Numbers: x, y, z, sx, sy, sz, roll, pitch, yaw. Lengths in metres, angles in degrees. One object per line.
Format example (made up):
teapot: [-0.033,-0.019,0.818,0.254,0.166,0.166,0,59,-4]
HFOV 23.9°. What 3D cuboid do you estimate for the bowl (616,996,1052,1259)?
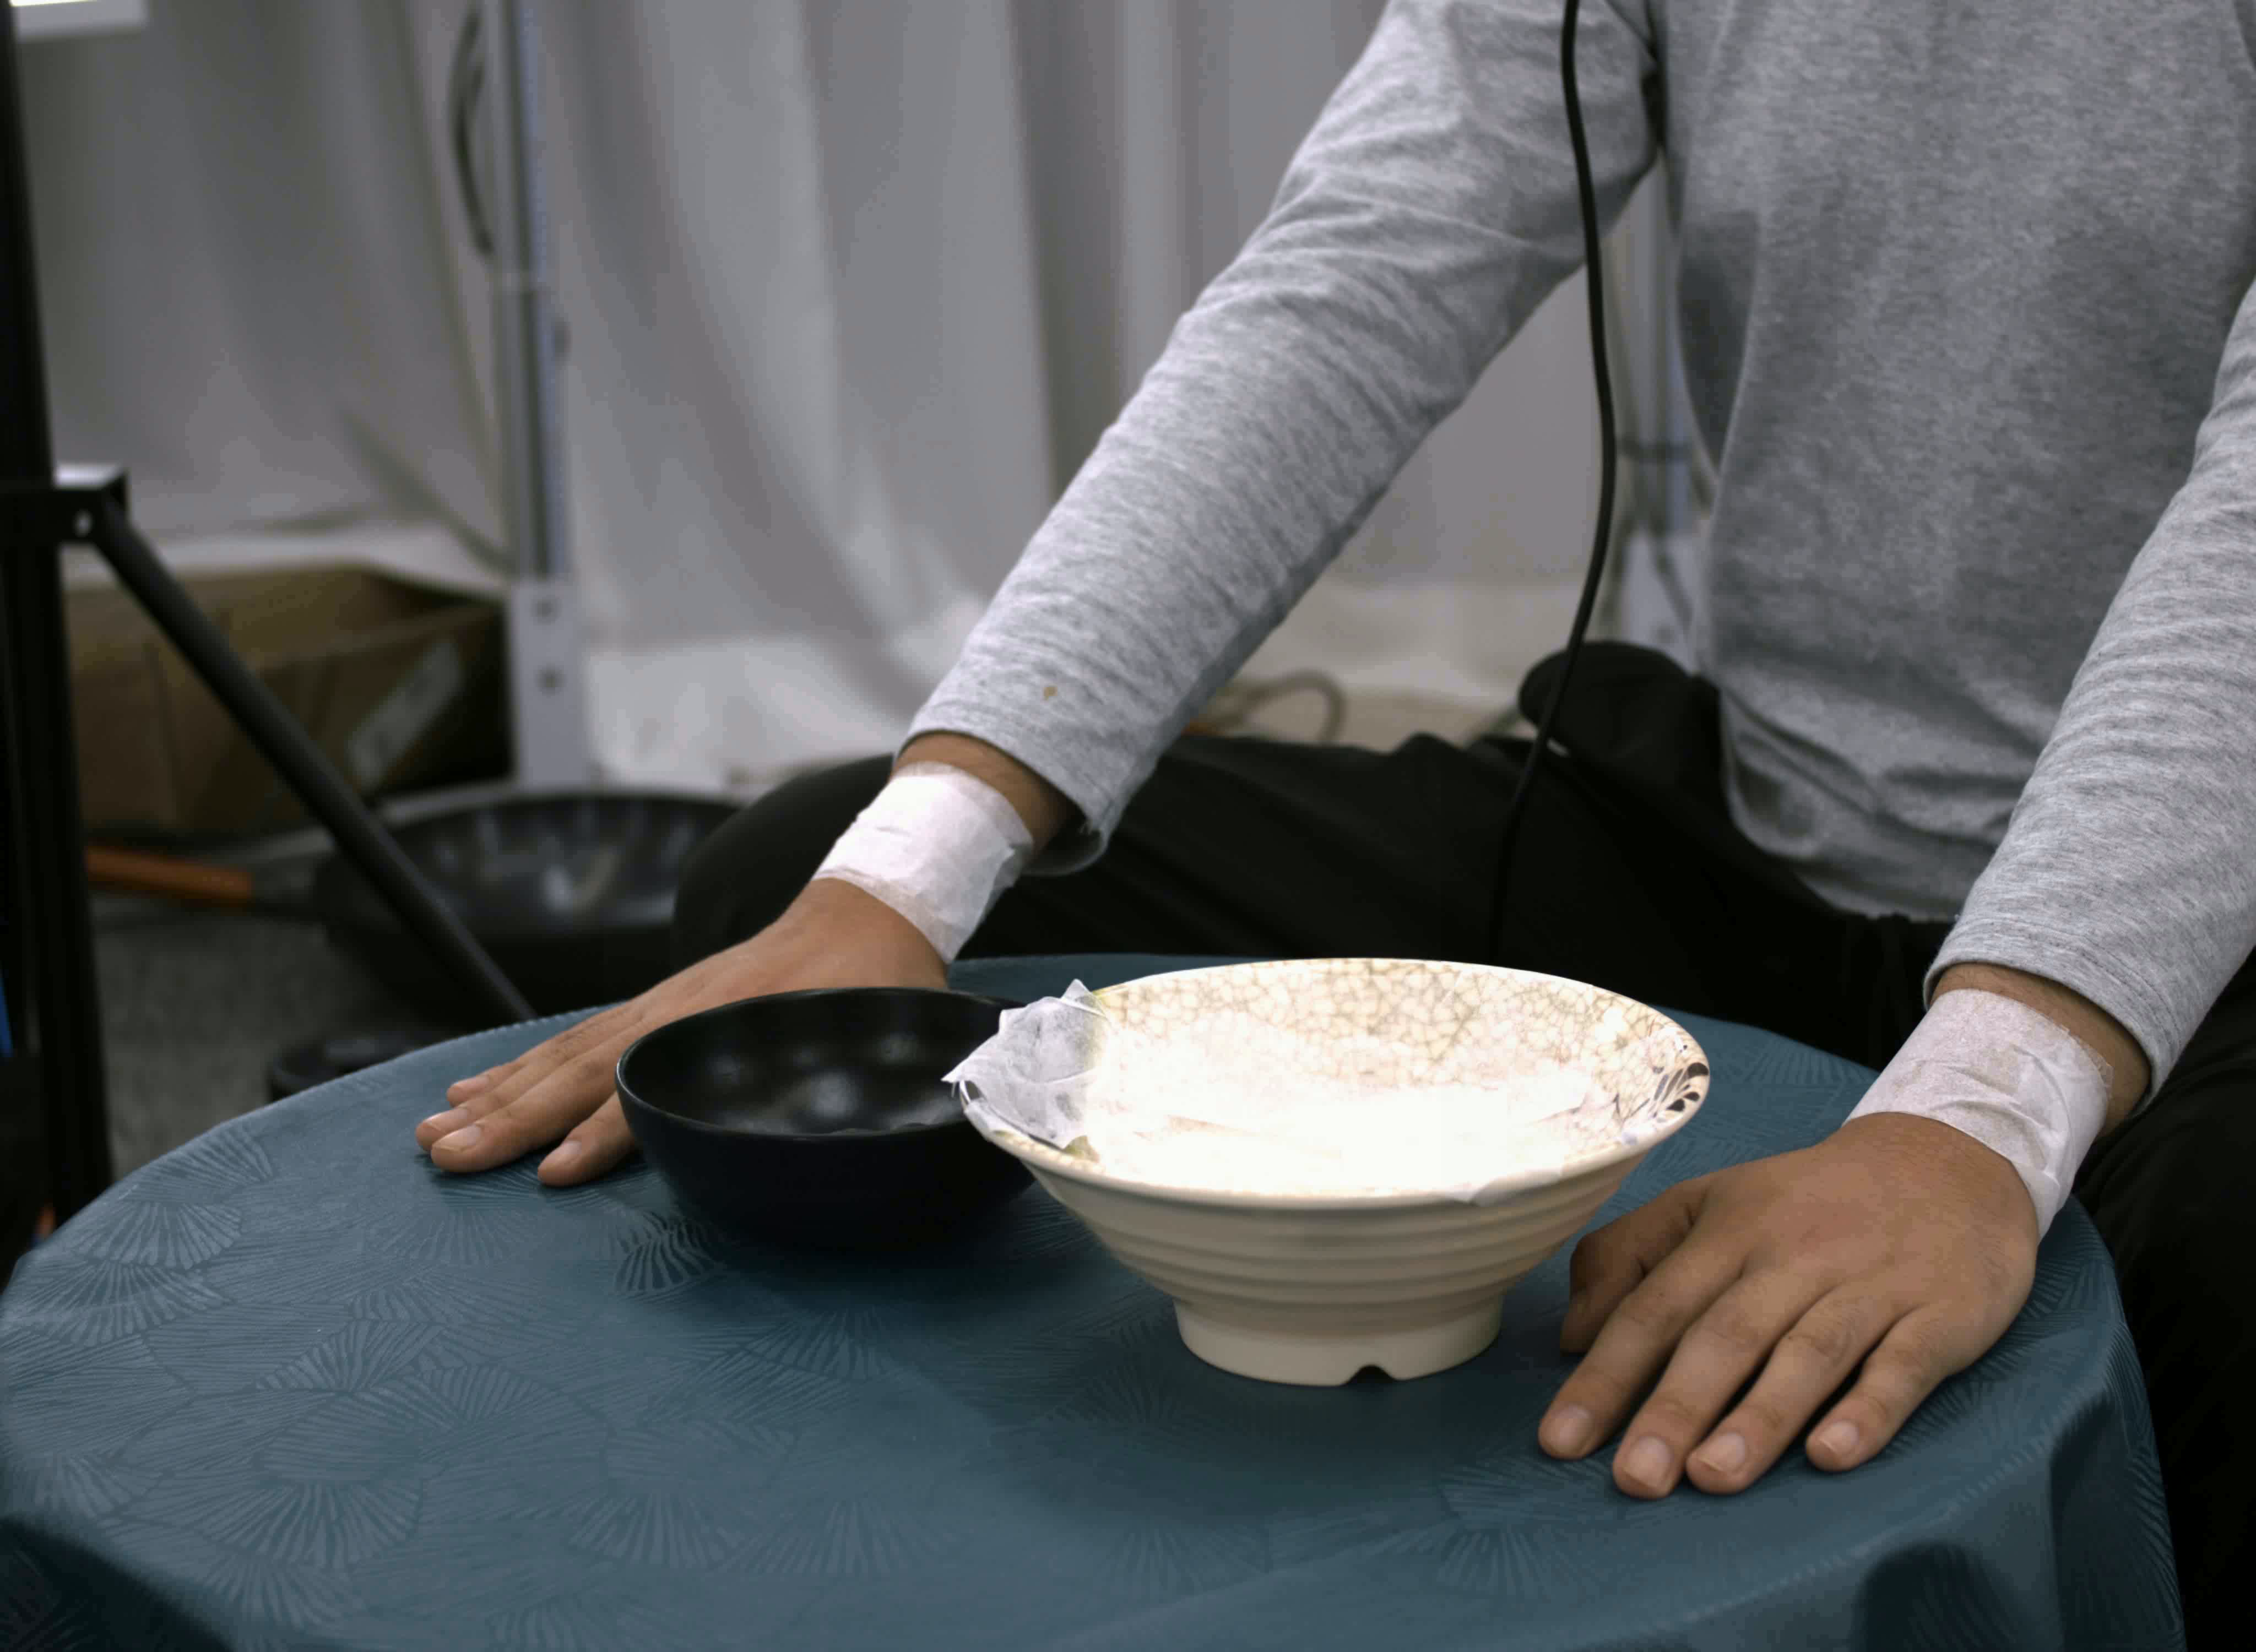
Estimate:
bowl: [-0.079,0.092,1.549,0.139,0.050,0.141,1,14,-2]

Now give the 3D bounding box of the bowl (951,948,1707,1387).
bowl: [0.055,0.100,1.437,0.203,0.078,0.205,-2,16,-1]
